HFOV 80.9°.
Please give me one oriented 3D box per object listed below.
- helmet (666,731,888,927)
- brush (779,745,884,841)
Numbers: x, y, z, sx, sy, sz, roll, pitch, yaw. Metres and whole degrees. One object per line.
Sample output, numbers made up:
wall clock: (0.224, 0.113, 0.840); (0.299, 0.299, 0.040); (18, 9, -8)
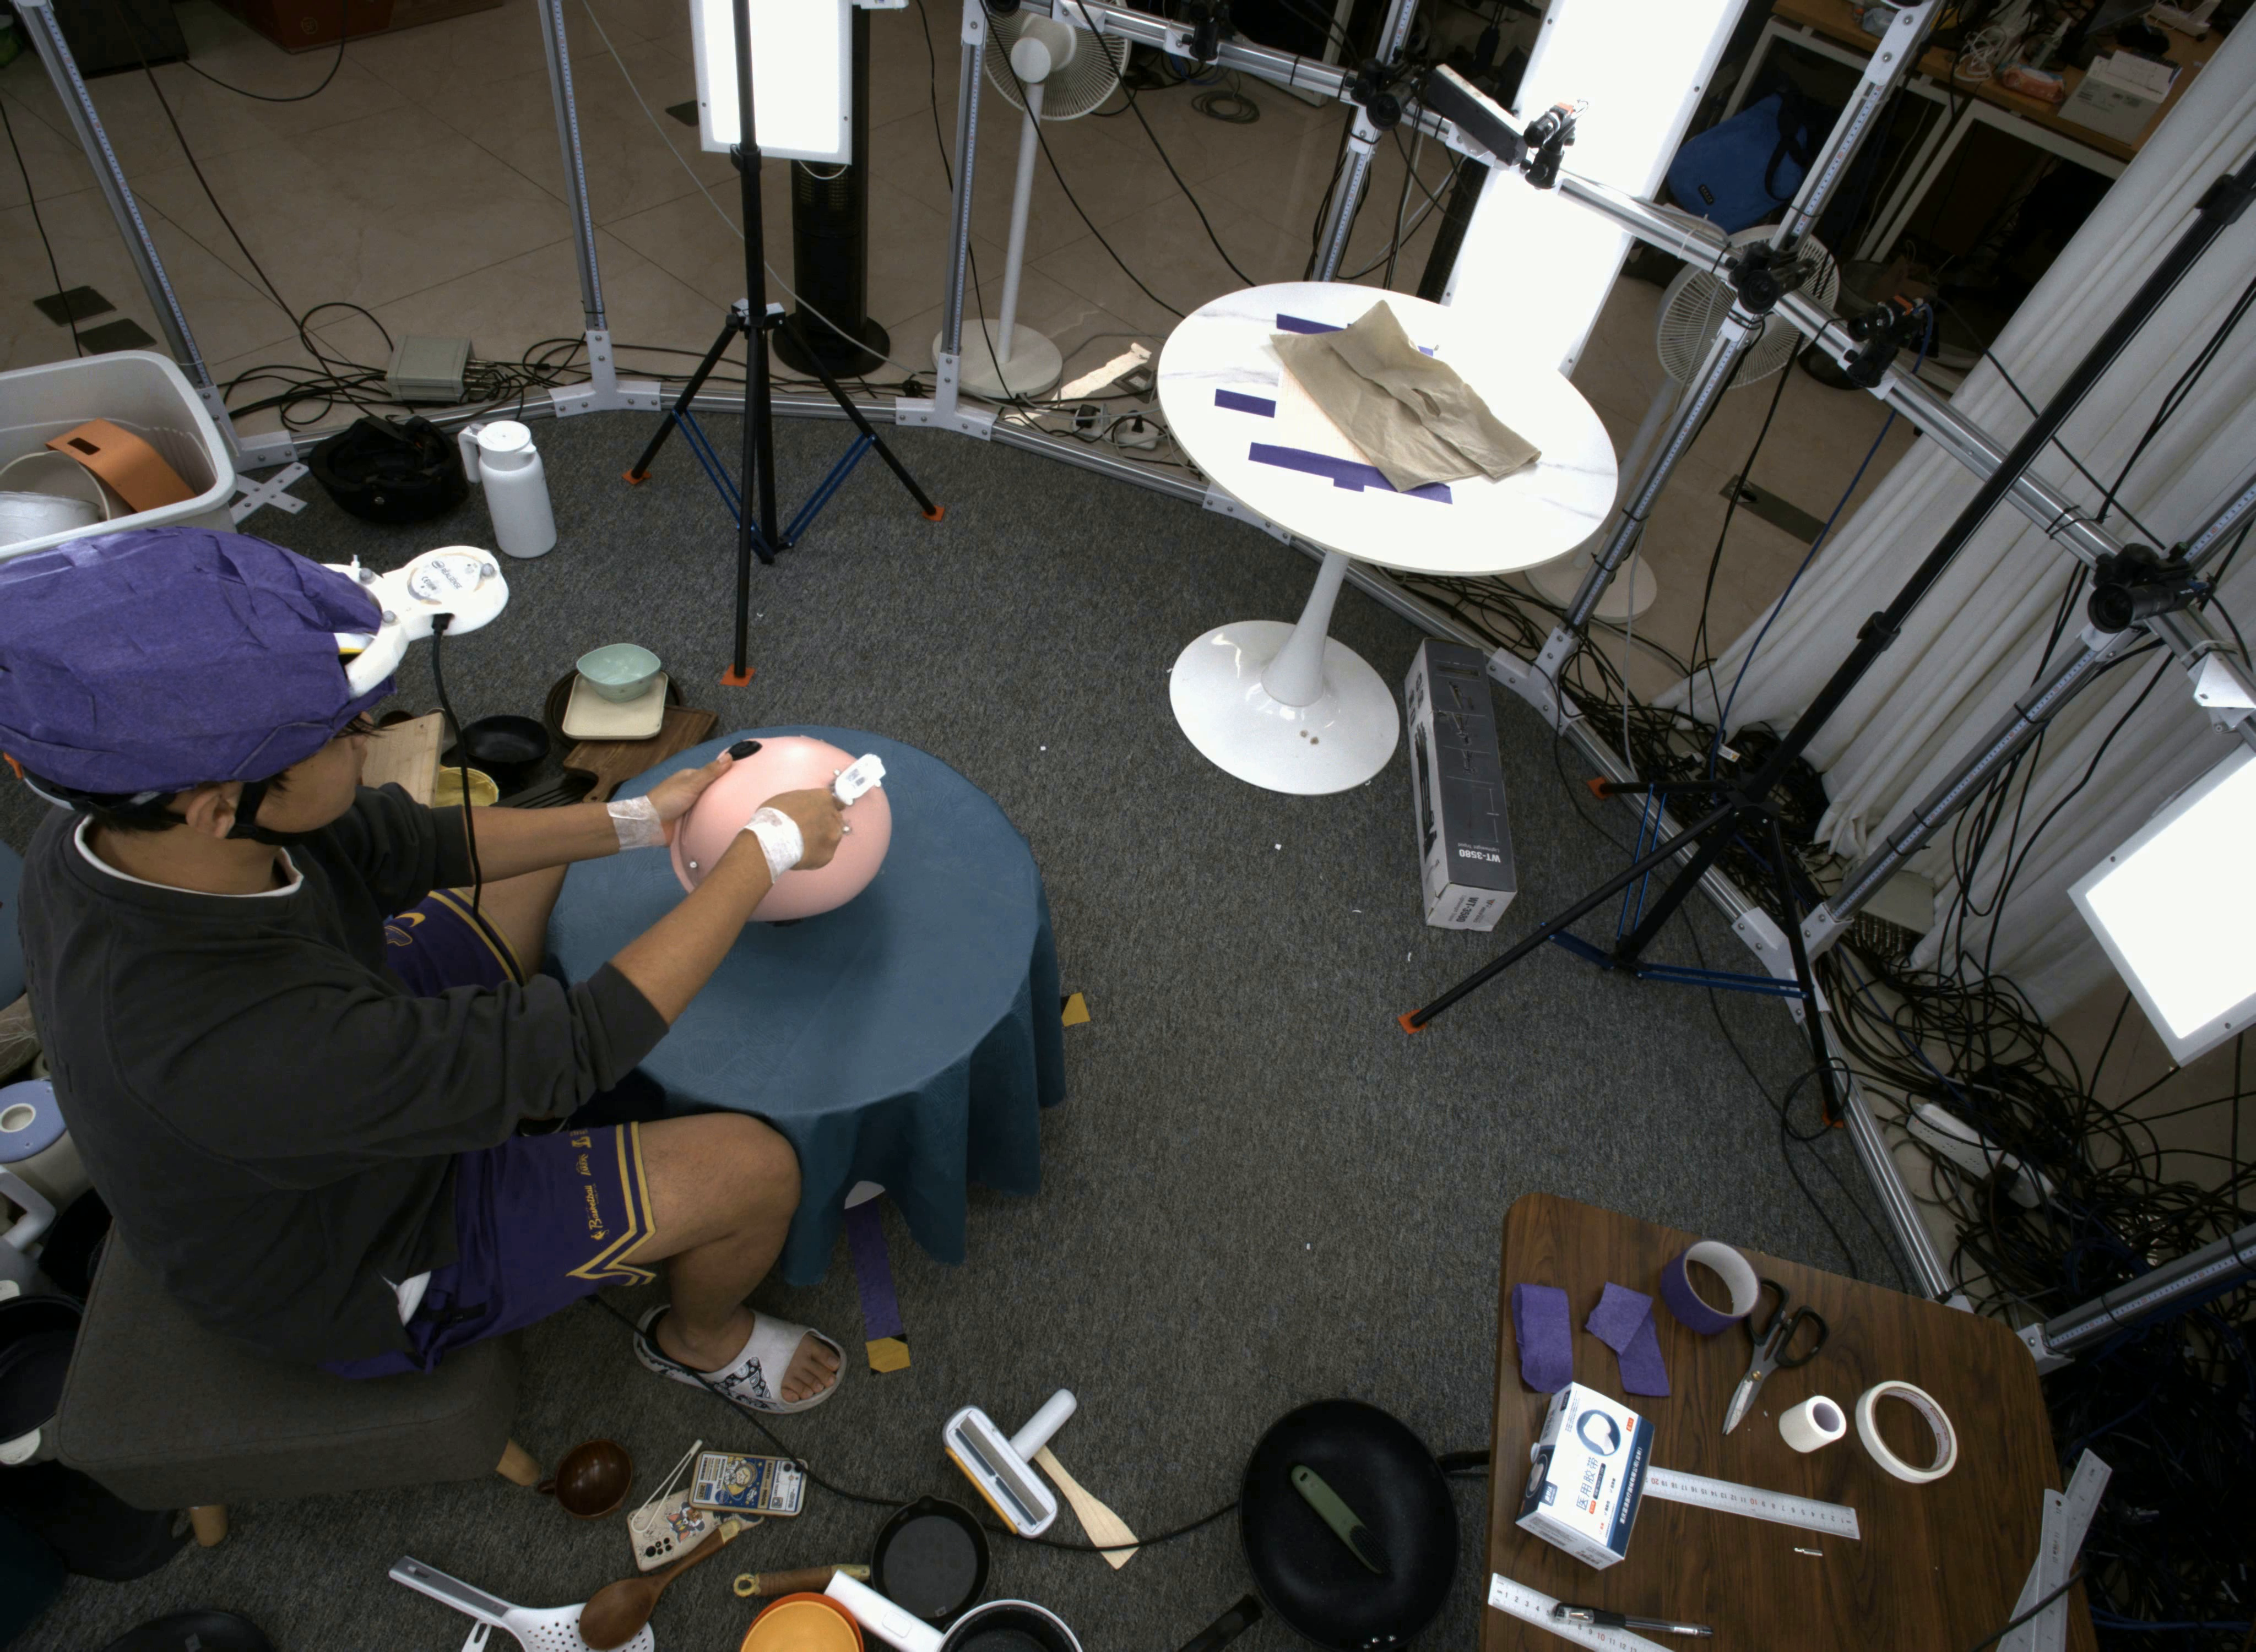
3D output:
helmet: (-0.397, 0.005, 1.536); (0.268, 0.240, 0.153); (-22, 20, -35)
brush: (-0.332, -0.028, 1.415); (0.035, 0.050, 0.241); (49, 25, -10)
